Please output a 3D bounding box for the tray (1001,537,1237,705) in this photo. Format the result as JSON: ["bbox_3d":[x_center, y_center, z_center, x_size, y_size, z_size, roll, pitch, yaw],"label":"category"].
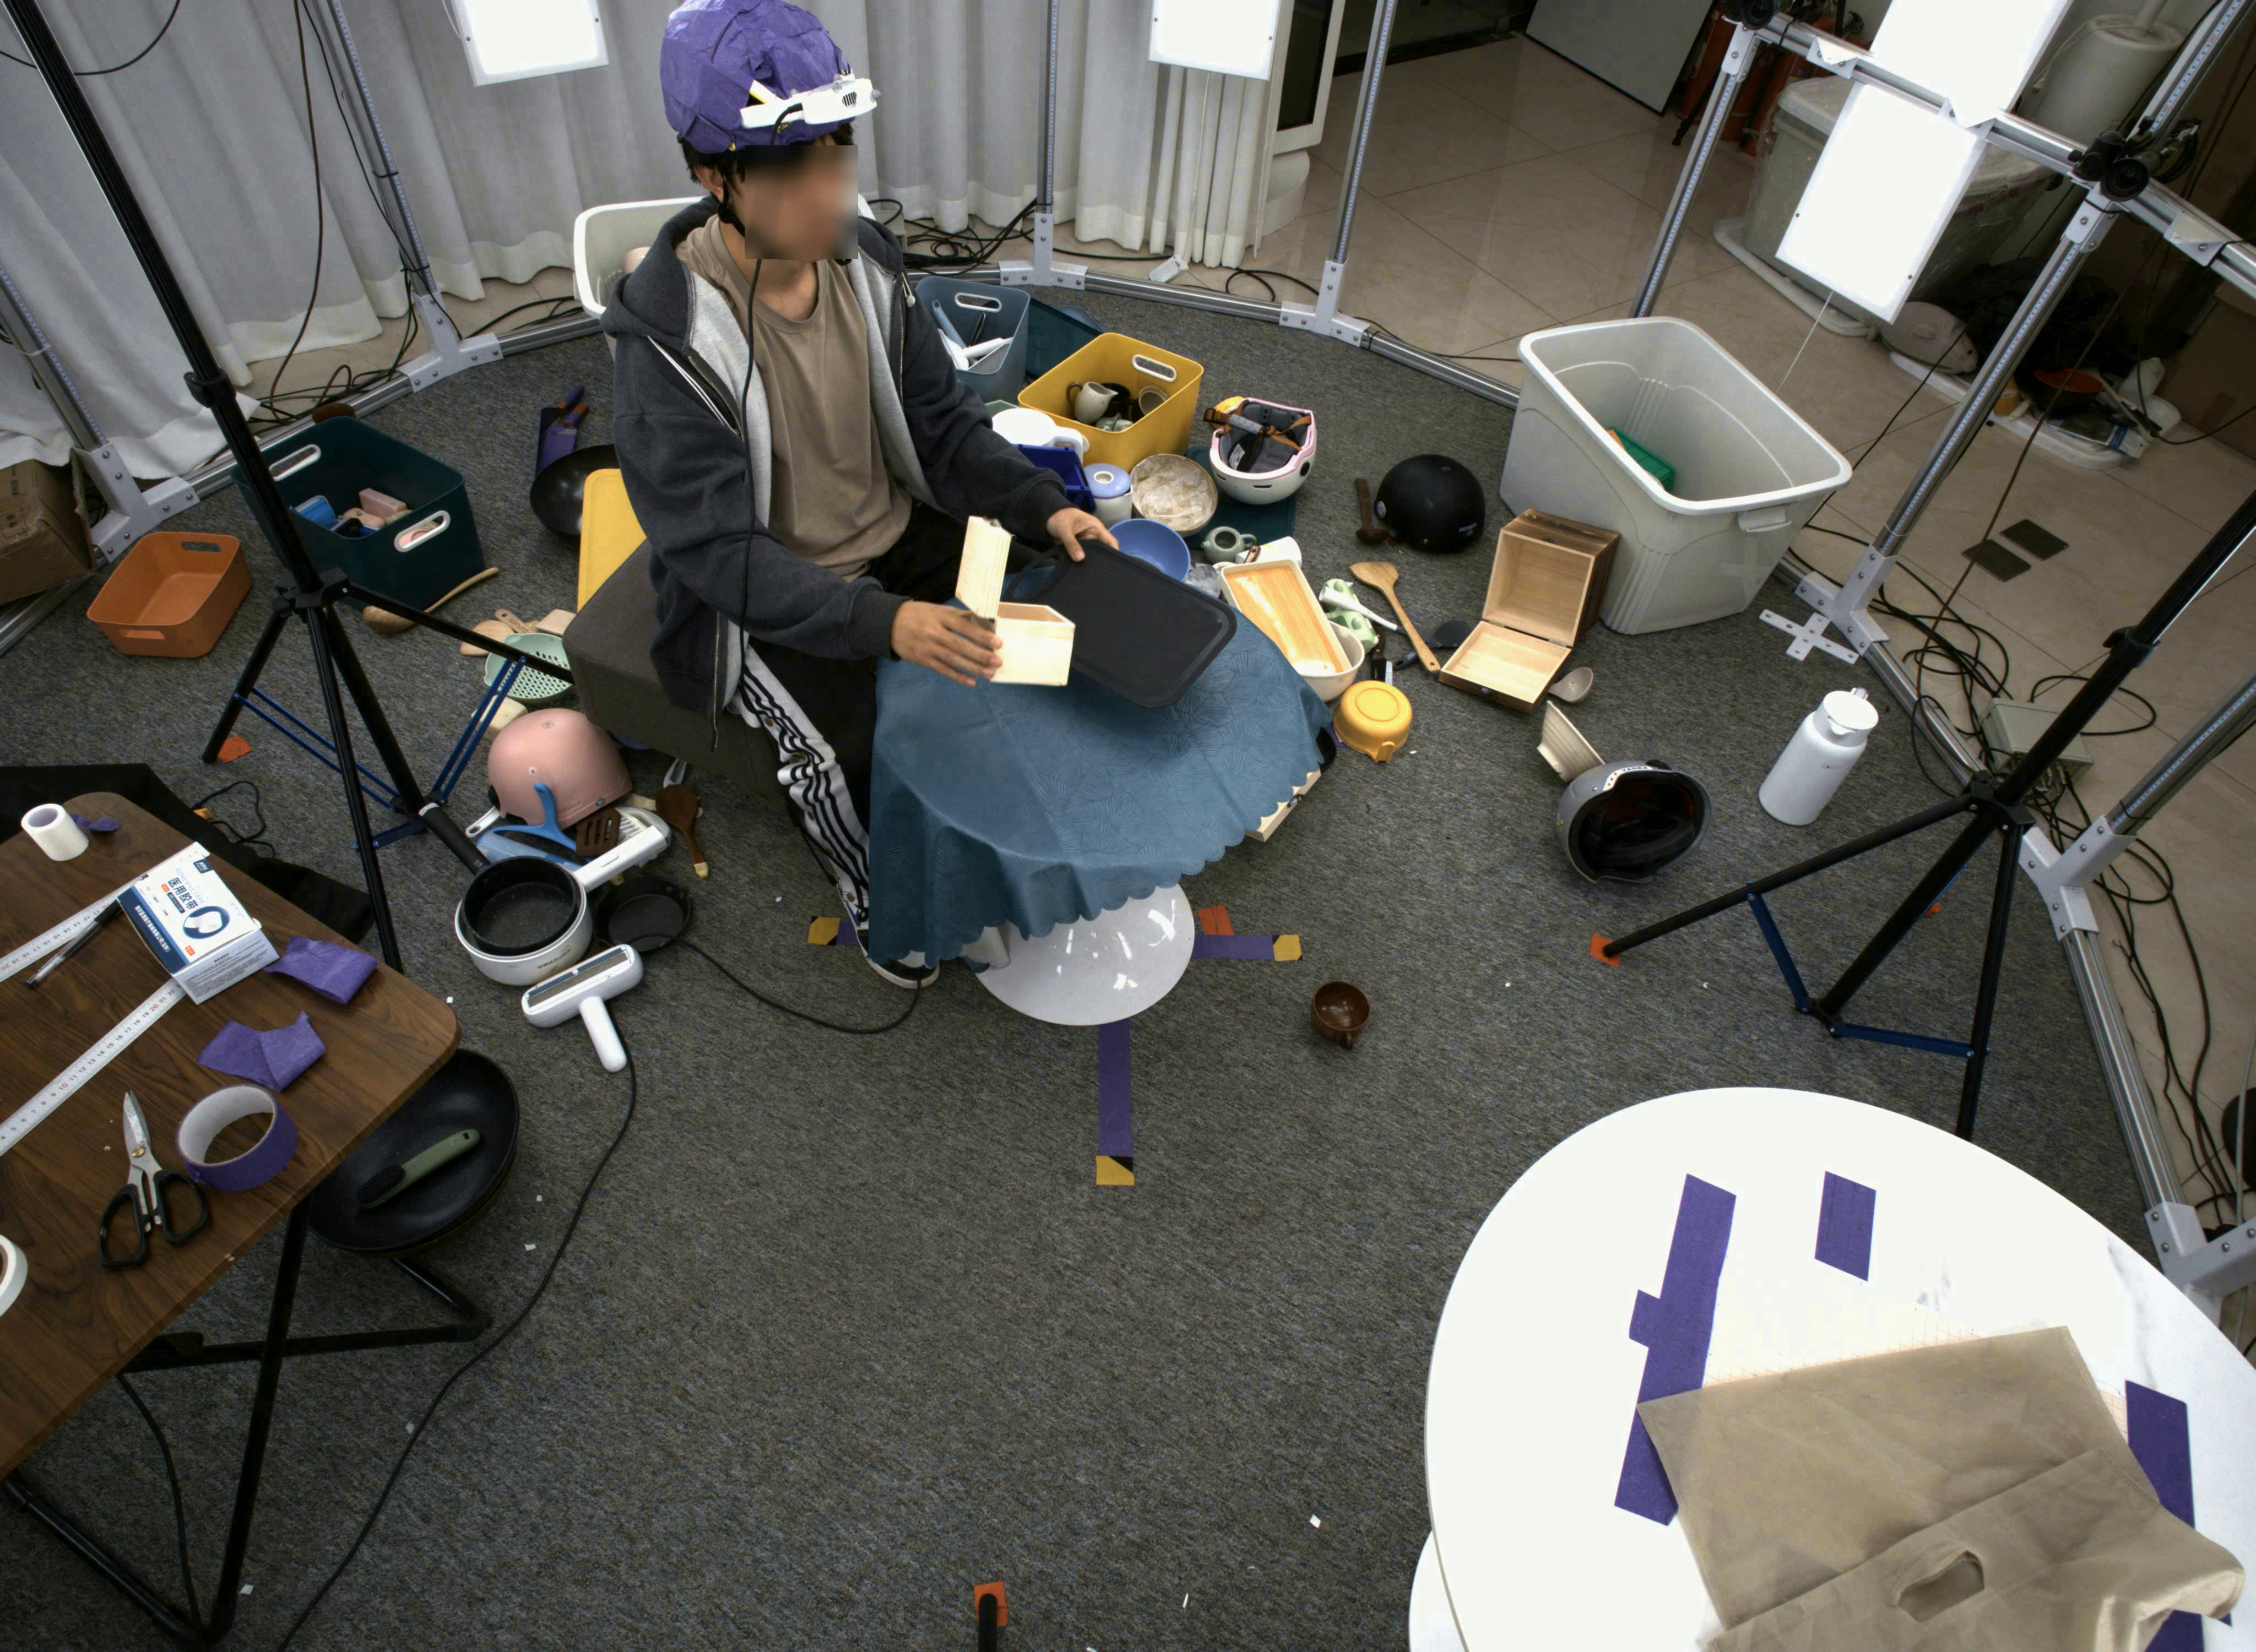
[{"bbox_3d":[-0.022,-0.298,1.813,0.329,0.009,0.213,31,64,22],"label":"tray"}]

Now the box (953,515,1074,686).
[{"bbox_3d":[-0.136,-0.274,1.568,0.133,0.181,0.104,-1,23,-24],"label":"box"}]
